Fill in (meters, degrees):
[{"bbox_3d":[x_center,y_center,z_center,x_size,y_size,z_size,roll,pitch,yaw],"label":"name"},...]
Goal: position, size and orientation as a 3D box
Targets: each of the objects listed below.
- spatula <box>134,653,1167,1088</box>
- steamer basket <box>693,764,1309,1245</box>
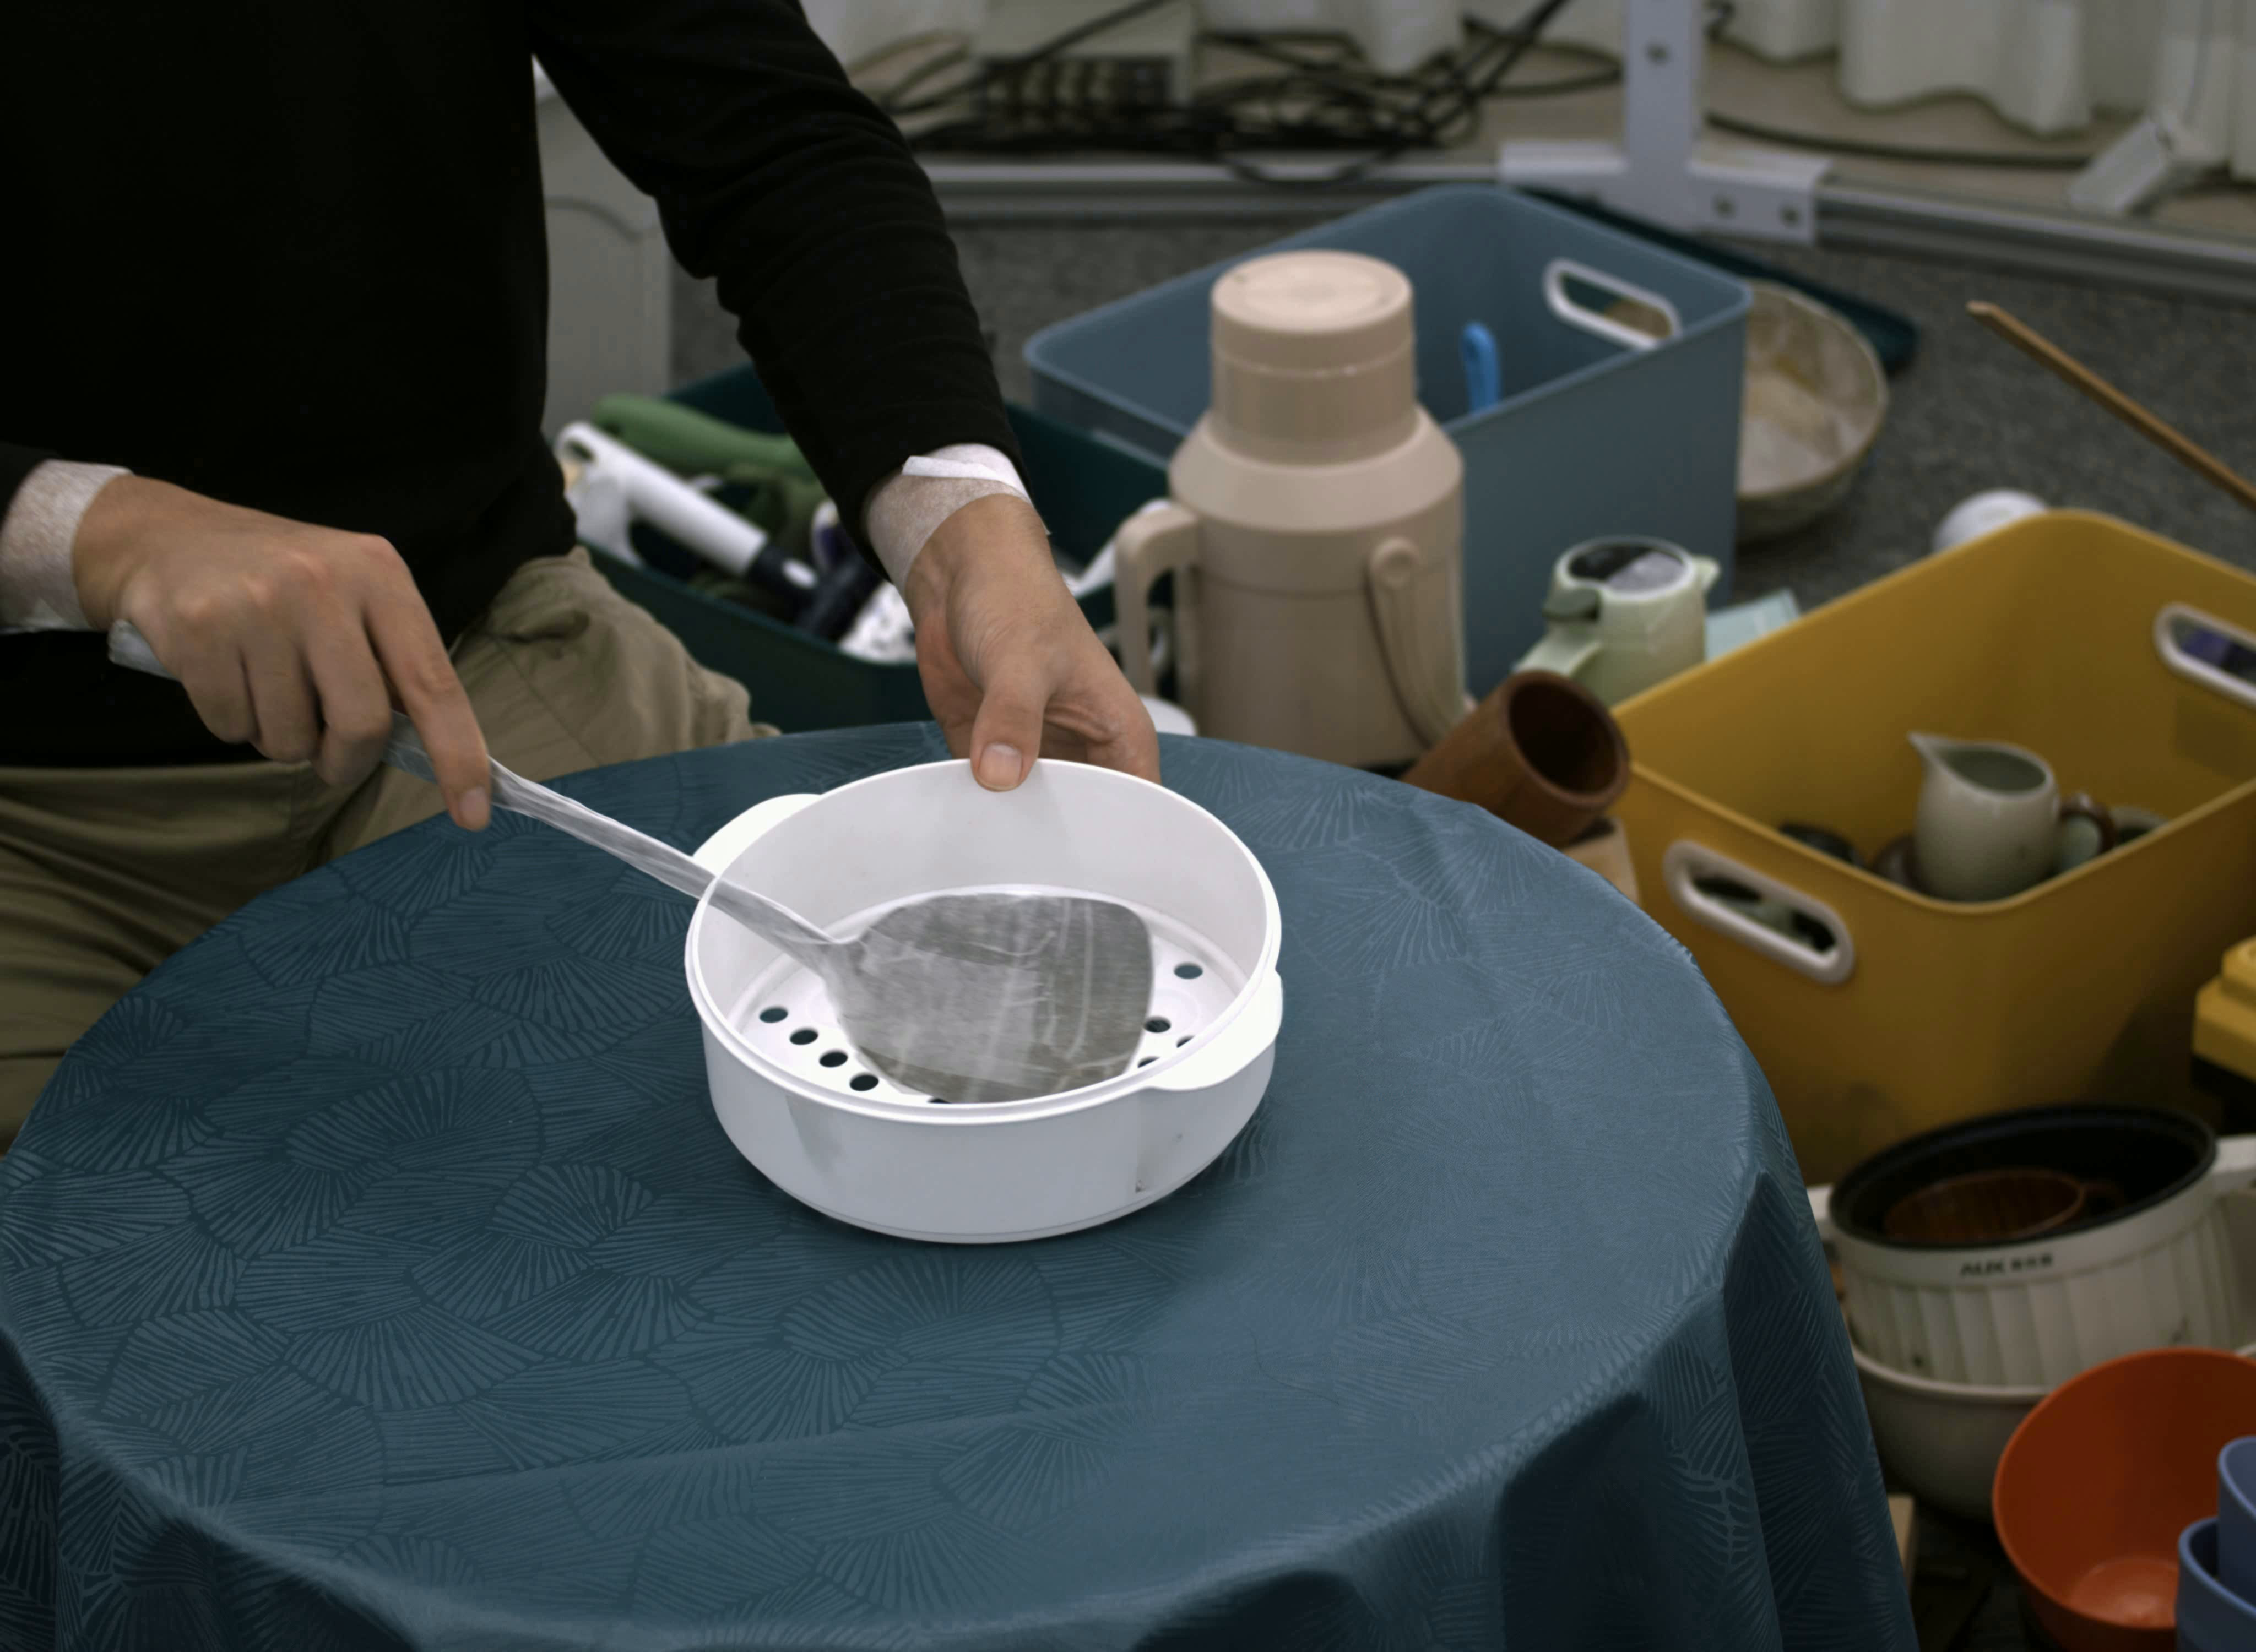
[{"bbox_3d":[-0.161,0.007,1.869,0.364,0.097,0.045,24,37,10],"label":"spatula"},{"bbox_3d":[-0.043,0.060,1.891,0.230,0.068,0.205,20,40,31],"label":"steamer basket"}]
